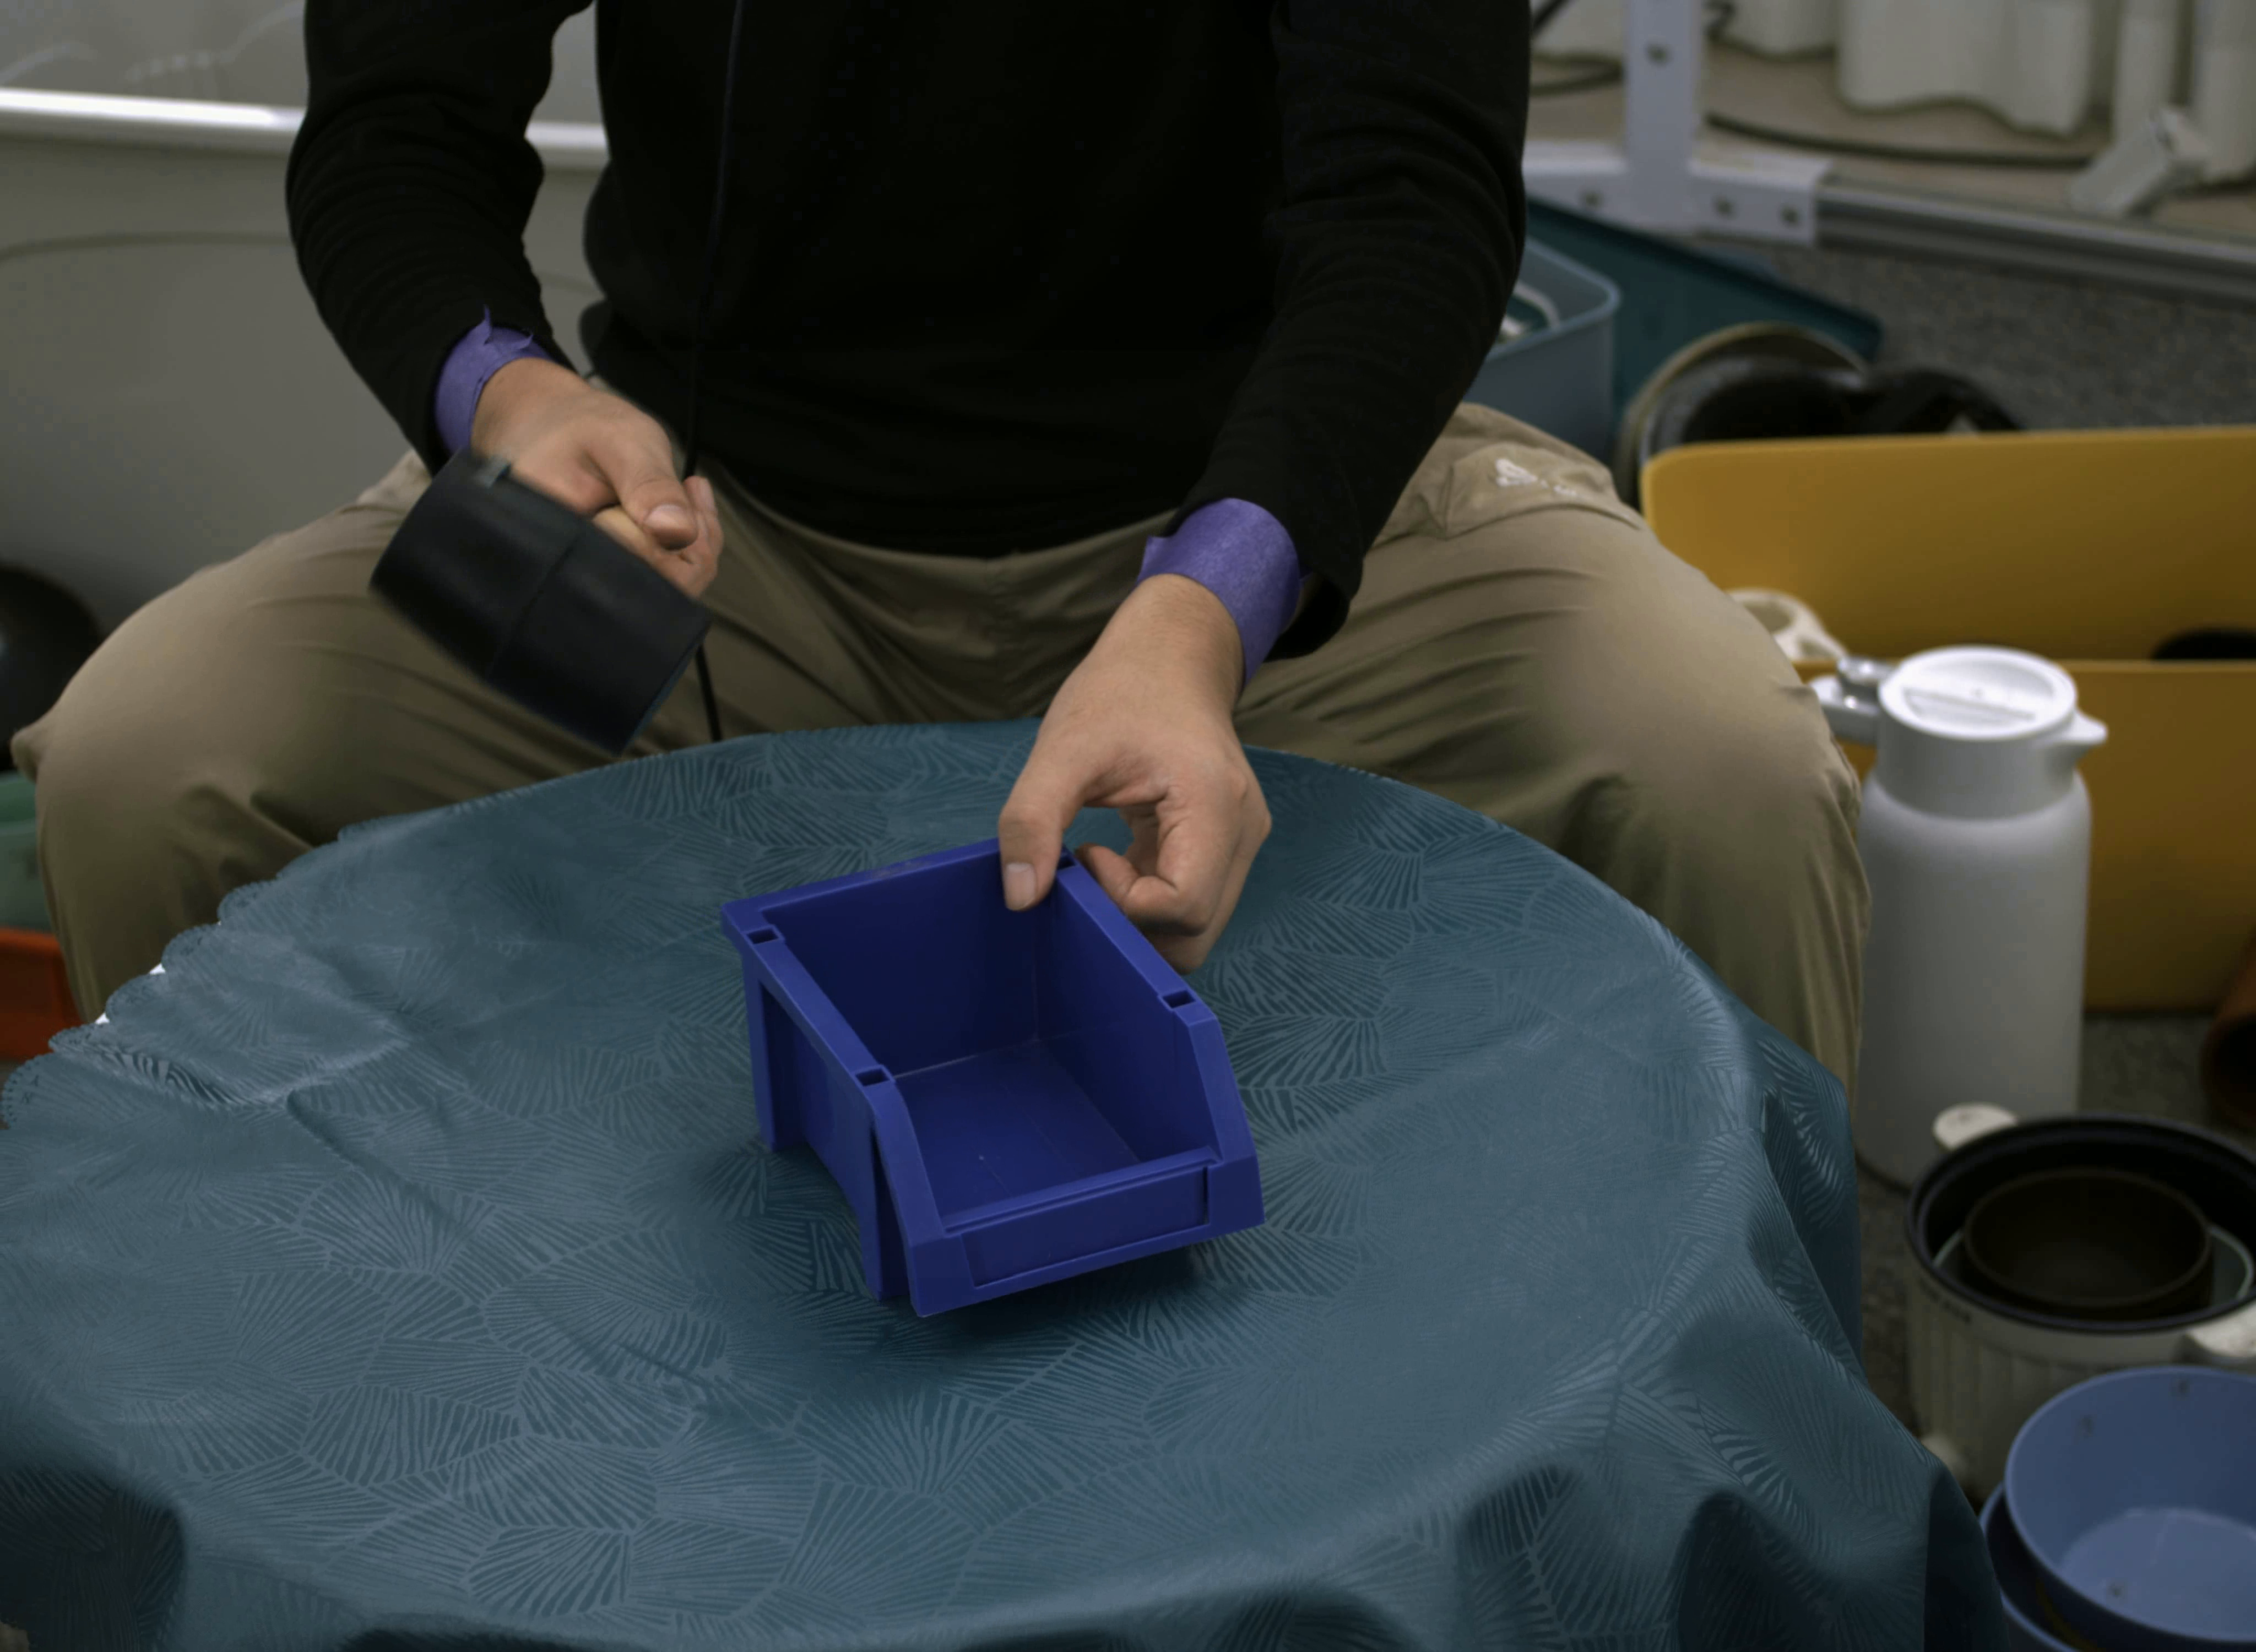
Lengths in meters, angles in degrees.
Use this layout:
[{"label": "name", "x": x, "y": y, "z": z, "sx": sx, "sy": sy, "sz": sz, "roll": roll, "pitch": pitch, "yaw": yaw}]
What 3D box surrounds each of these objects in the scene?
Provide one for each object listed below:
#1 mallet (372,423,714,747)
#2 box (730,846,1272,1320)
[{"label": "mallet", "x": -0.175, "y": -0.097, "z": 1.924, "sx": 0.102, "sy": 0.064, "sz": 0.341, "roll": 41, "pitch": 9, "yaw": -2}, {"label": "box", "x": -0.041, "y": 0.088, "z": 1.840, "sx": 0.125, "sy": 0.081, "sz": 0.180, "roll": -13, "pitch": 25, "yaw": -18}]
